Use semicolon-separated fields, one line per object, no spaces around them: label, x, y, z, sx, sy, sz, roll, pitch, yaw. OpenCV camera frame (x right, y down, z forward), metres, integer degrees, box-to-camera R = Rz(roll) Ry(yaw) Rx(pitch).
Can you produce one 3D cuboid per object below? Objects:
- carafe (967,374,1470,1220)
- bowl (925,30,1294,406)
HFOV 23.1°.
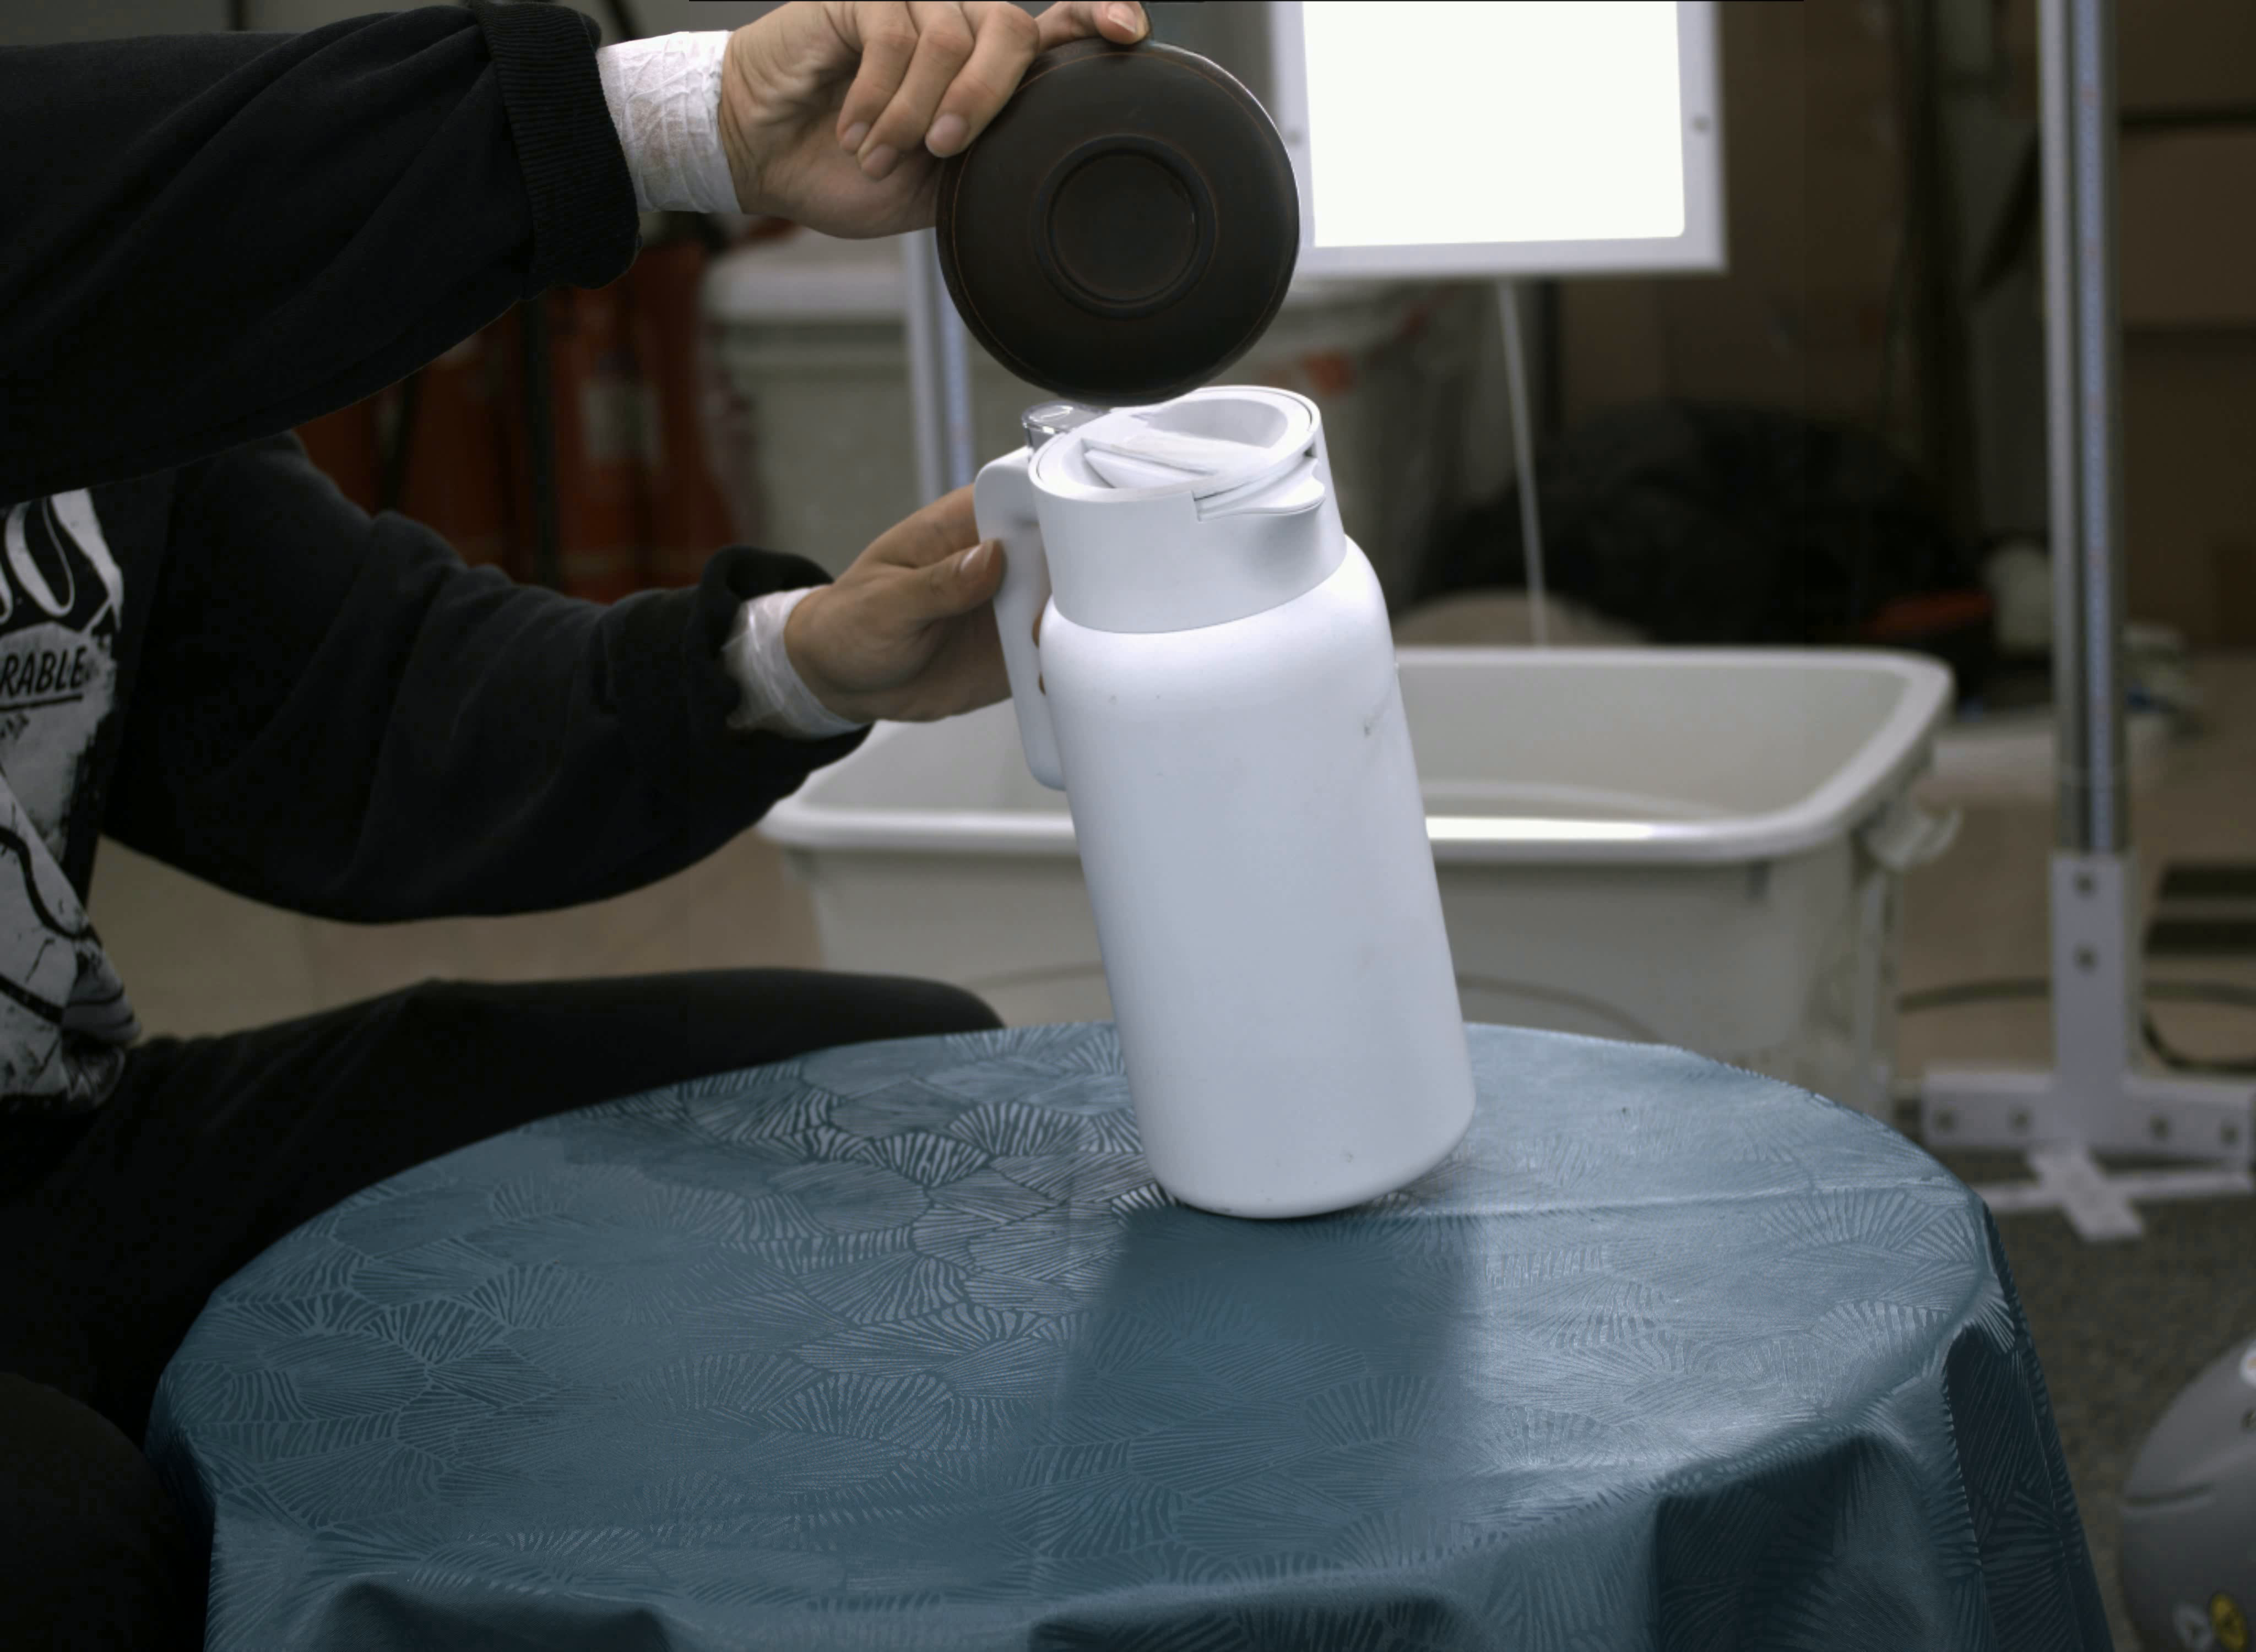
carafe;0.026;-0.011;1.858;0.121;0.269;0.176;-30;29;-31
bowl;-0.005;-0.190;1.724;0.118;0.118;0.070;-4;8;1
